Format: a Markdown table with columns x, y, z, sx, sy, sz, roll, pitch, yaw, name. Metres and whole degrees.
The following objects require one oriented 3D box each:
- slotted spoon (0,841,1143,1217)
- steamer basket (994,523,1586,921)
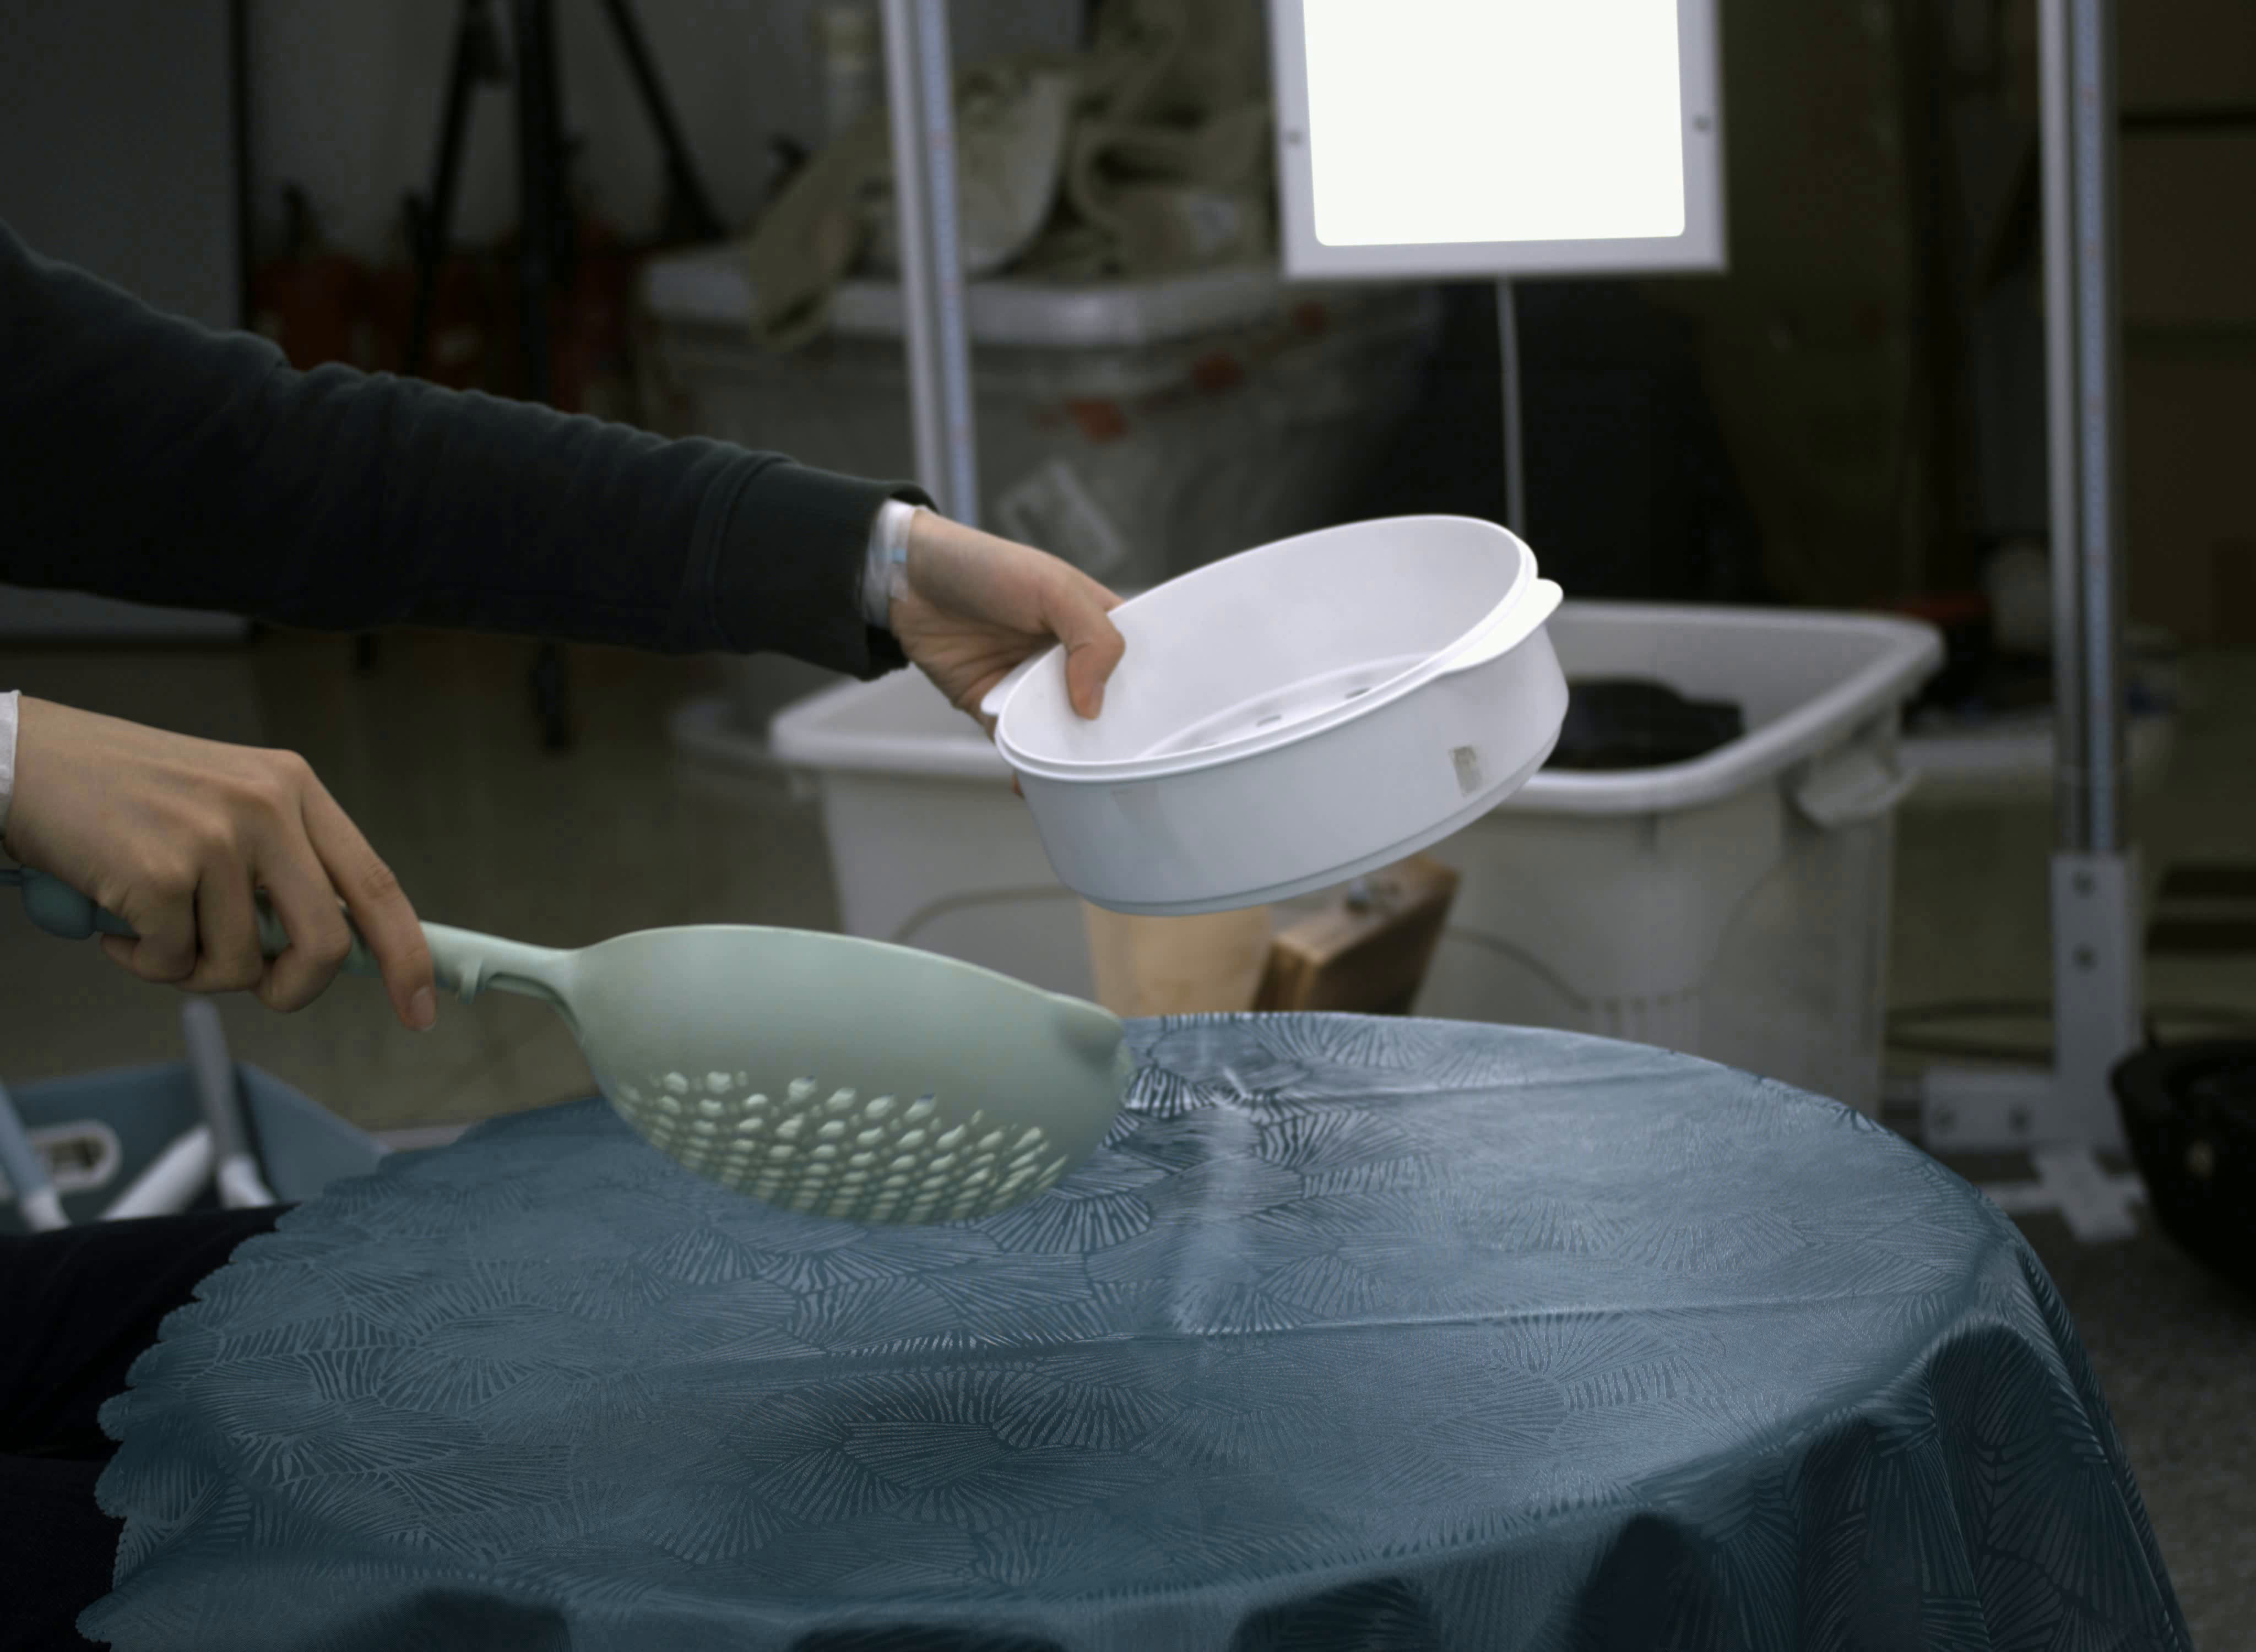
| x | y | z | sx | sy | sz | roll | pitch | yaw | name |
| --- | --- | --- | --- | --- | --- | --- | --- | --- | --- |
| -0.175 | 0.048 | 1.640 | 0.357 | 0.075 | 0.171 | 19 | -20 | -2 | slotted spoon |
| 0.063 | -0.036 | 1.934 | 0.235 | 0.069 | 0.197 | -5 | 24 | 37 | steamer basket |
